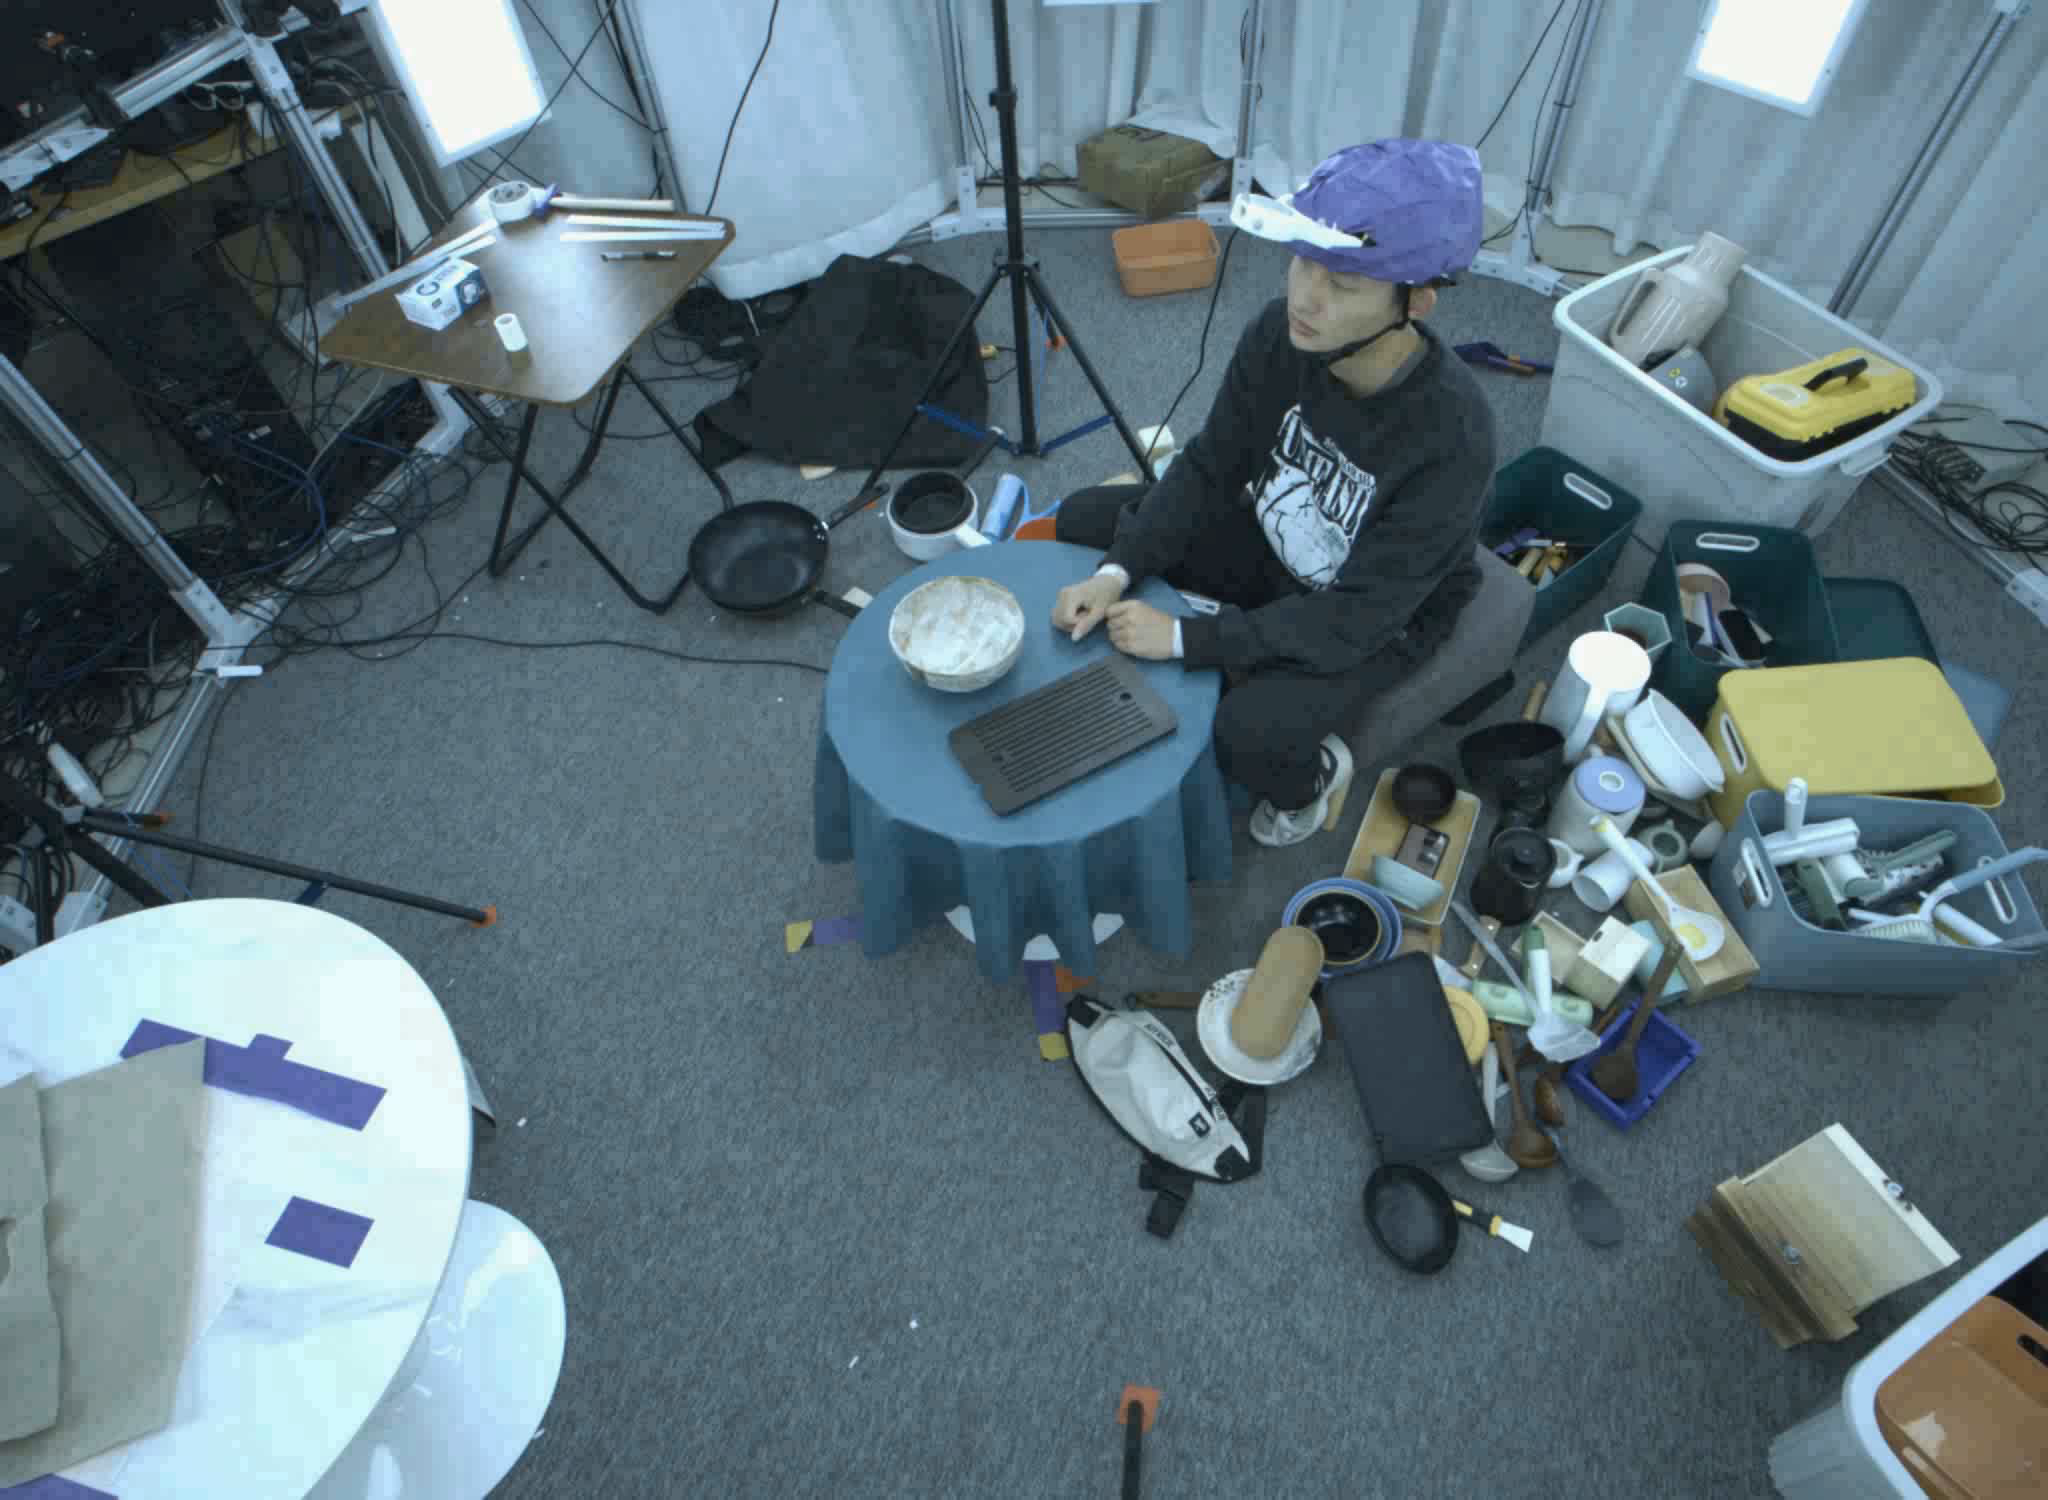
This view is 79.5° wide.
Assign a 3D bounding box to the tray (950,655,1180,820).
[{"bbox_3d":[0.060,-0.020,1.800,0.308,0.019,0.167,-26,58,-16],"label":"tray"}]

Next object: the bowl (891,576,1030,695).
[{"bbox_3d":[-0.091,-0.154,1.851,0.214,0.095,0.212,-1,54,2],"label":"bowl"}]
